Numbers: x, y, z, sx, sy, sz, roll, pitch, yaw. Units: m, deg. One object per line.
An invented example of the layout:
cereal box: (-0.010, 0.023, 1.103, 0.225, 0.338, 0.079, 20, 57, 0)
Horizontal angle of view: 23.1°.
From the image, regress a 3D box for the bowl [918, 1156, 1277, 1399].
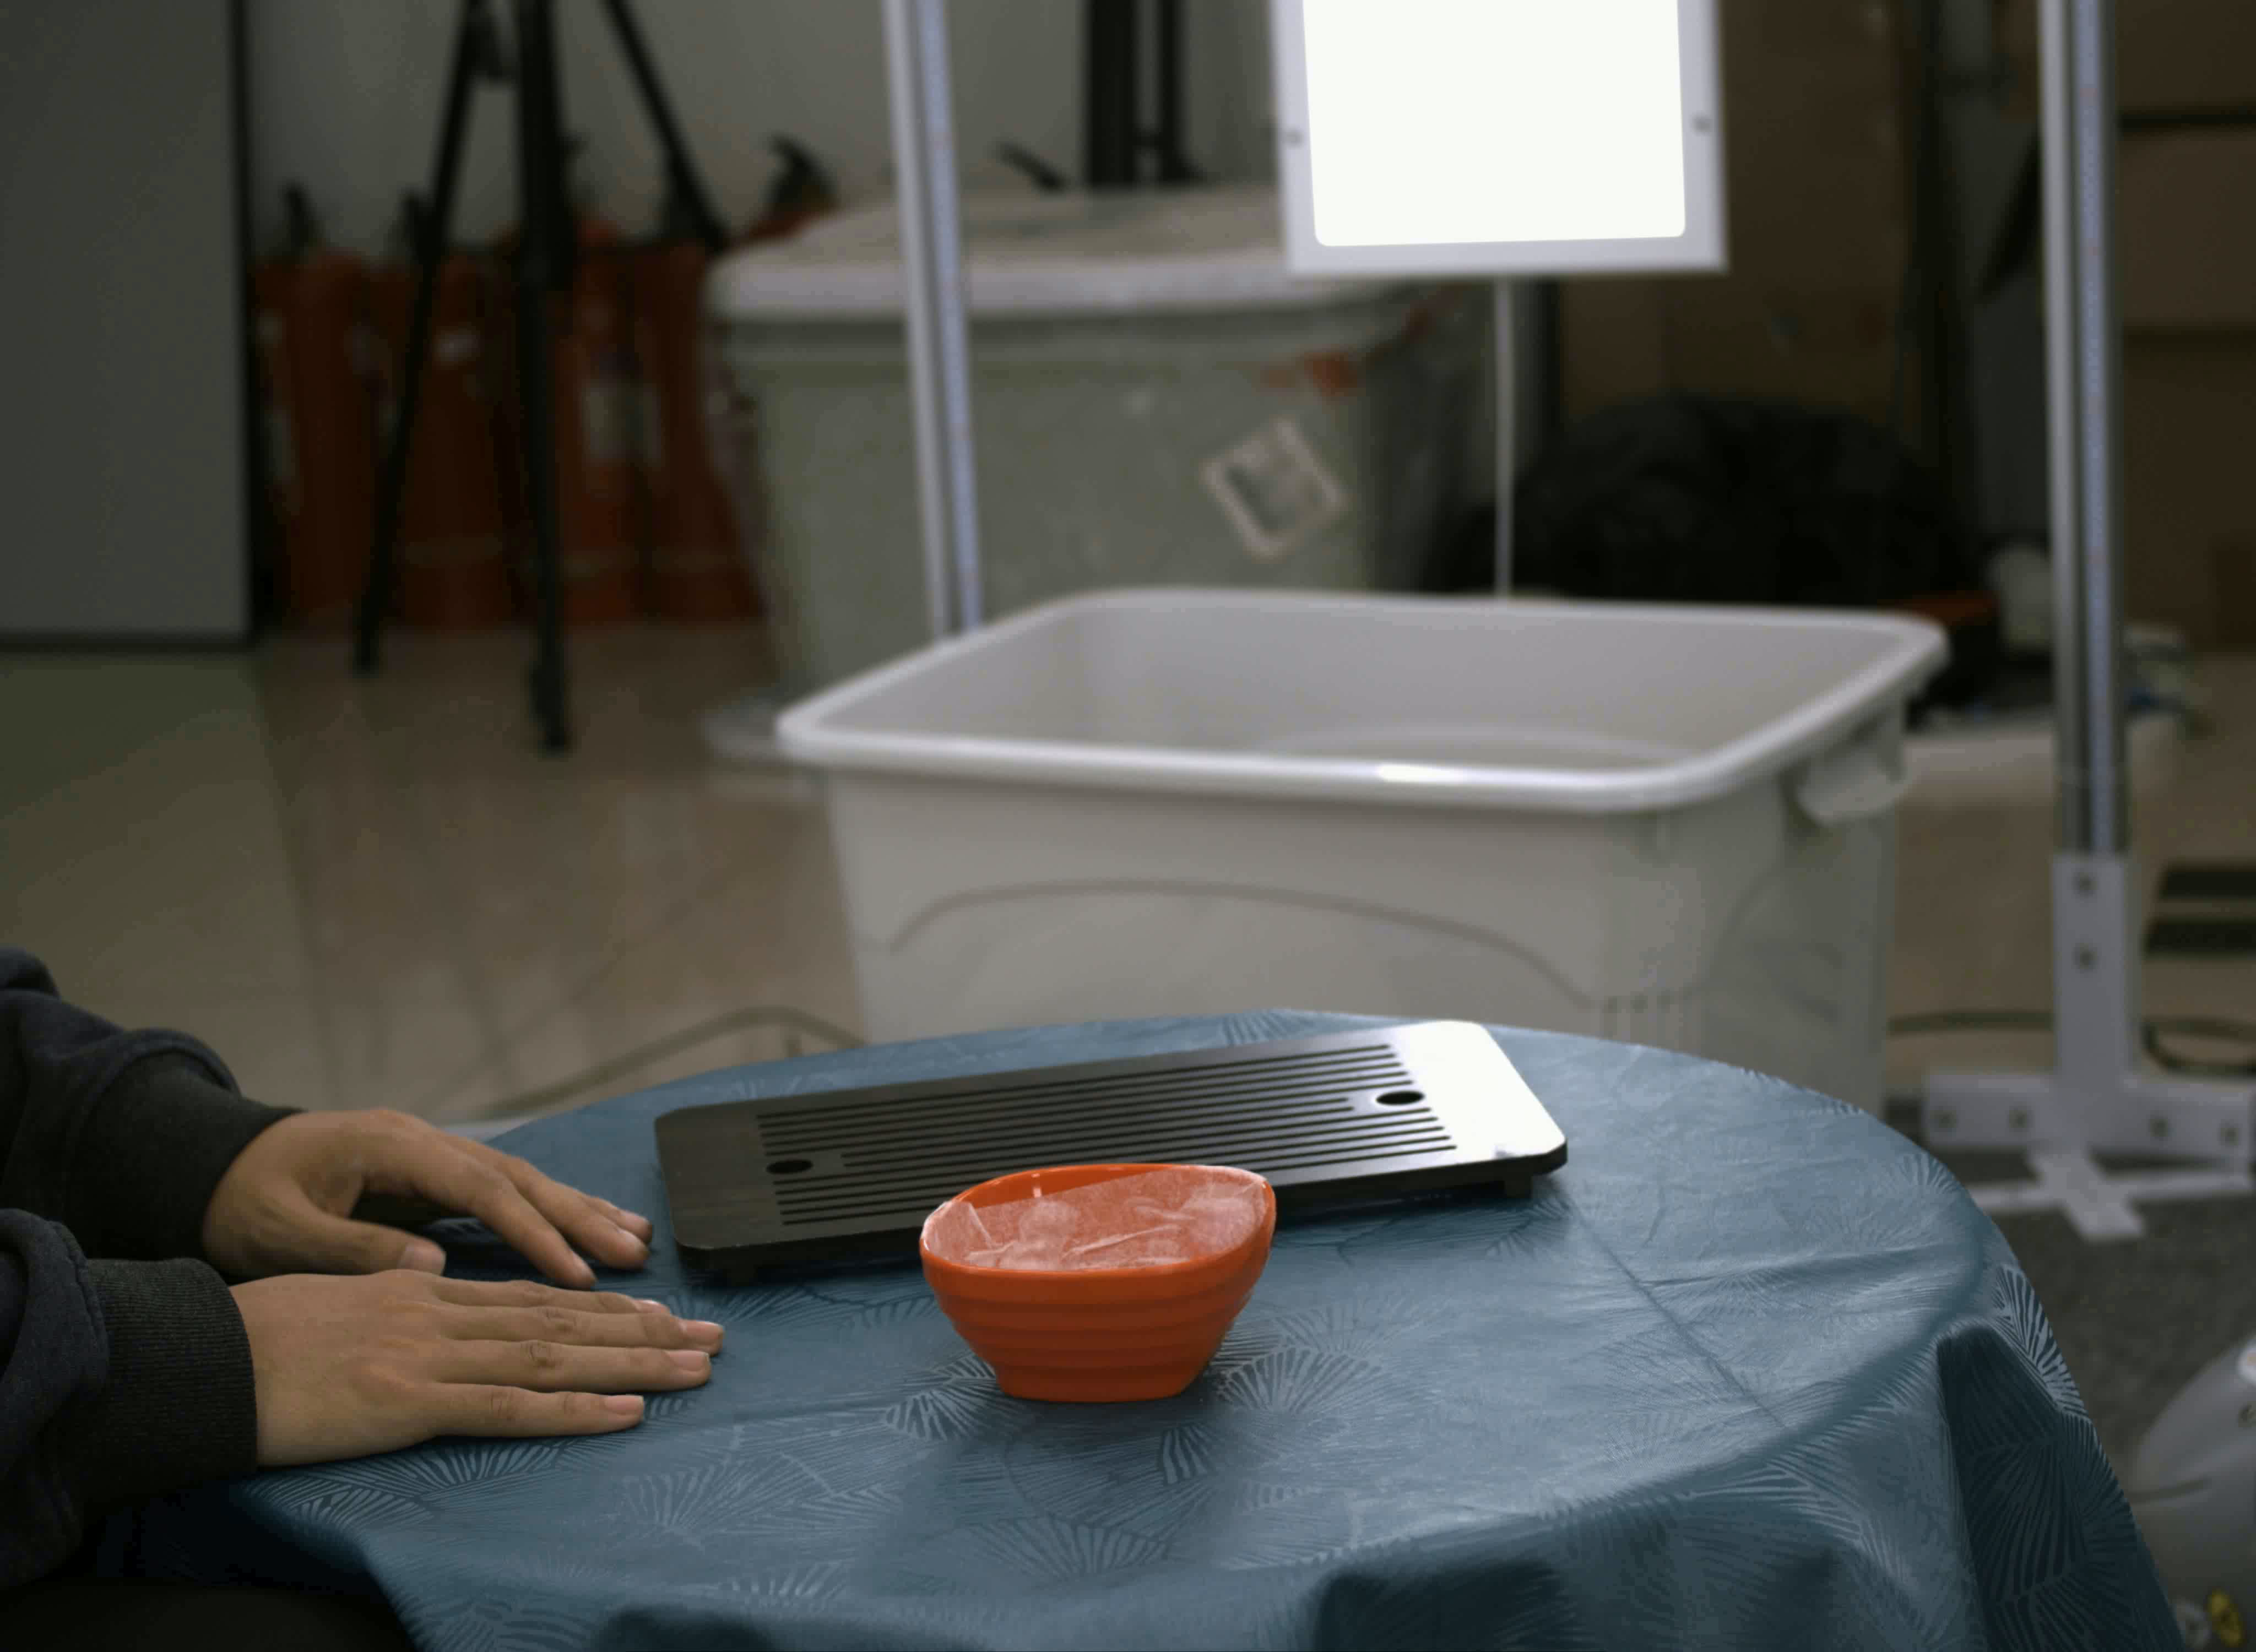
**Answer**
bowl: (-0.008, 0.143, 1.718, 0.118, 0.051, 0.119, -5, 15, 0)

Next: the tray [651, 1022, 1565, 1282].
tray: (-0.011, 0.113, 1.919, 0.304, 0.019, 0.170, -7, 14, -4)
